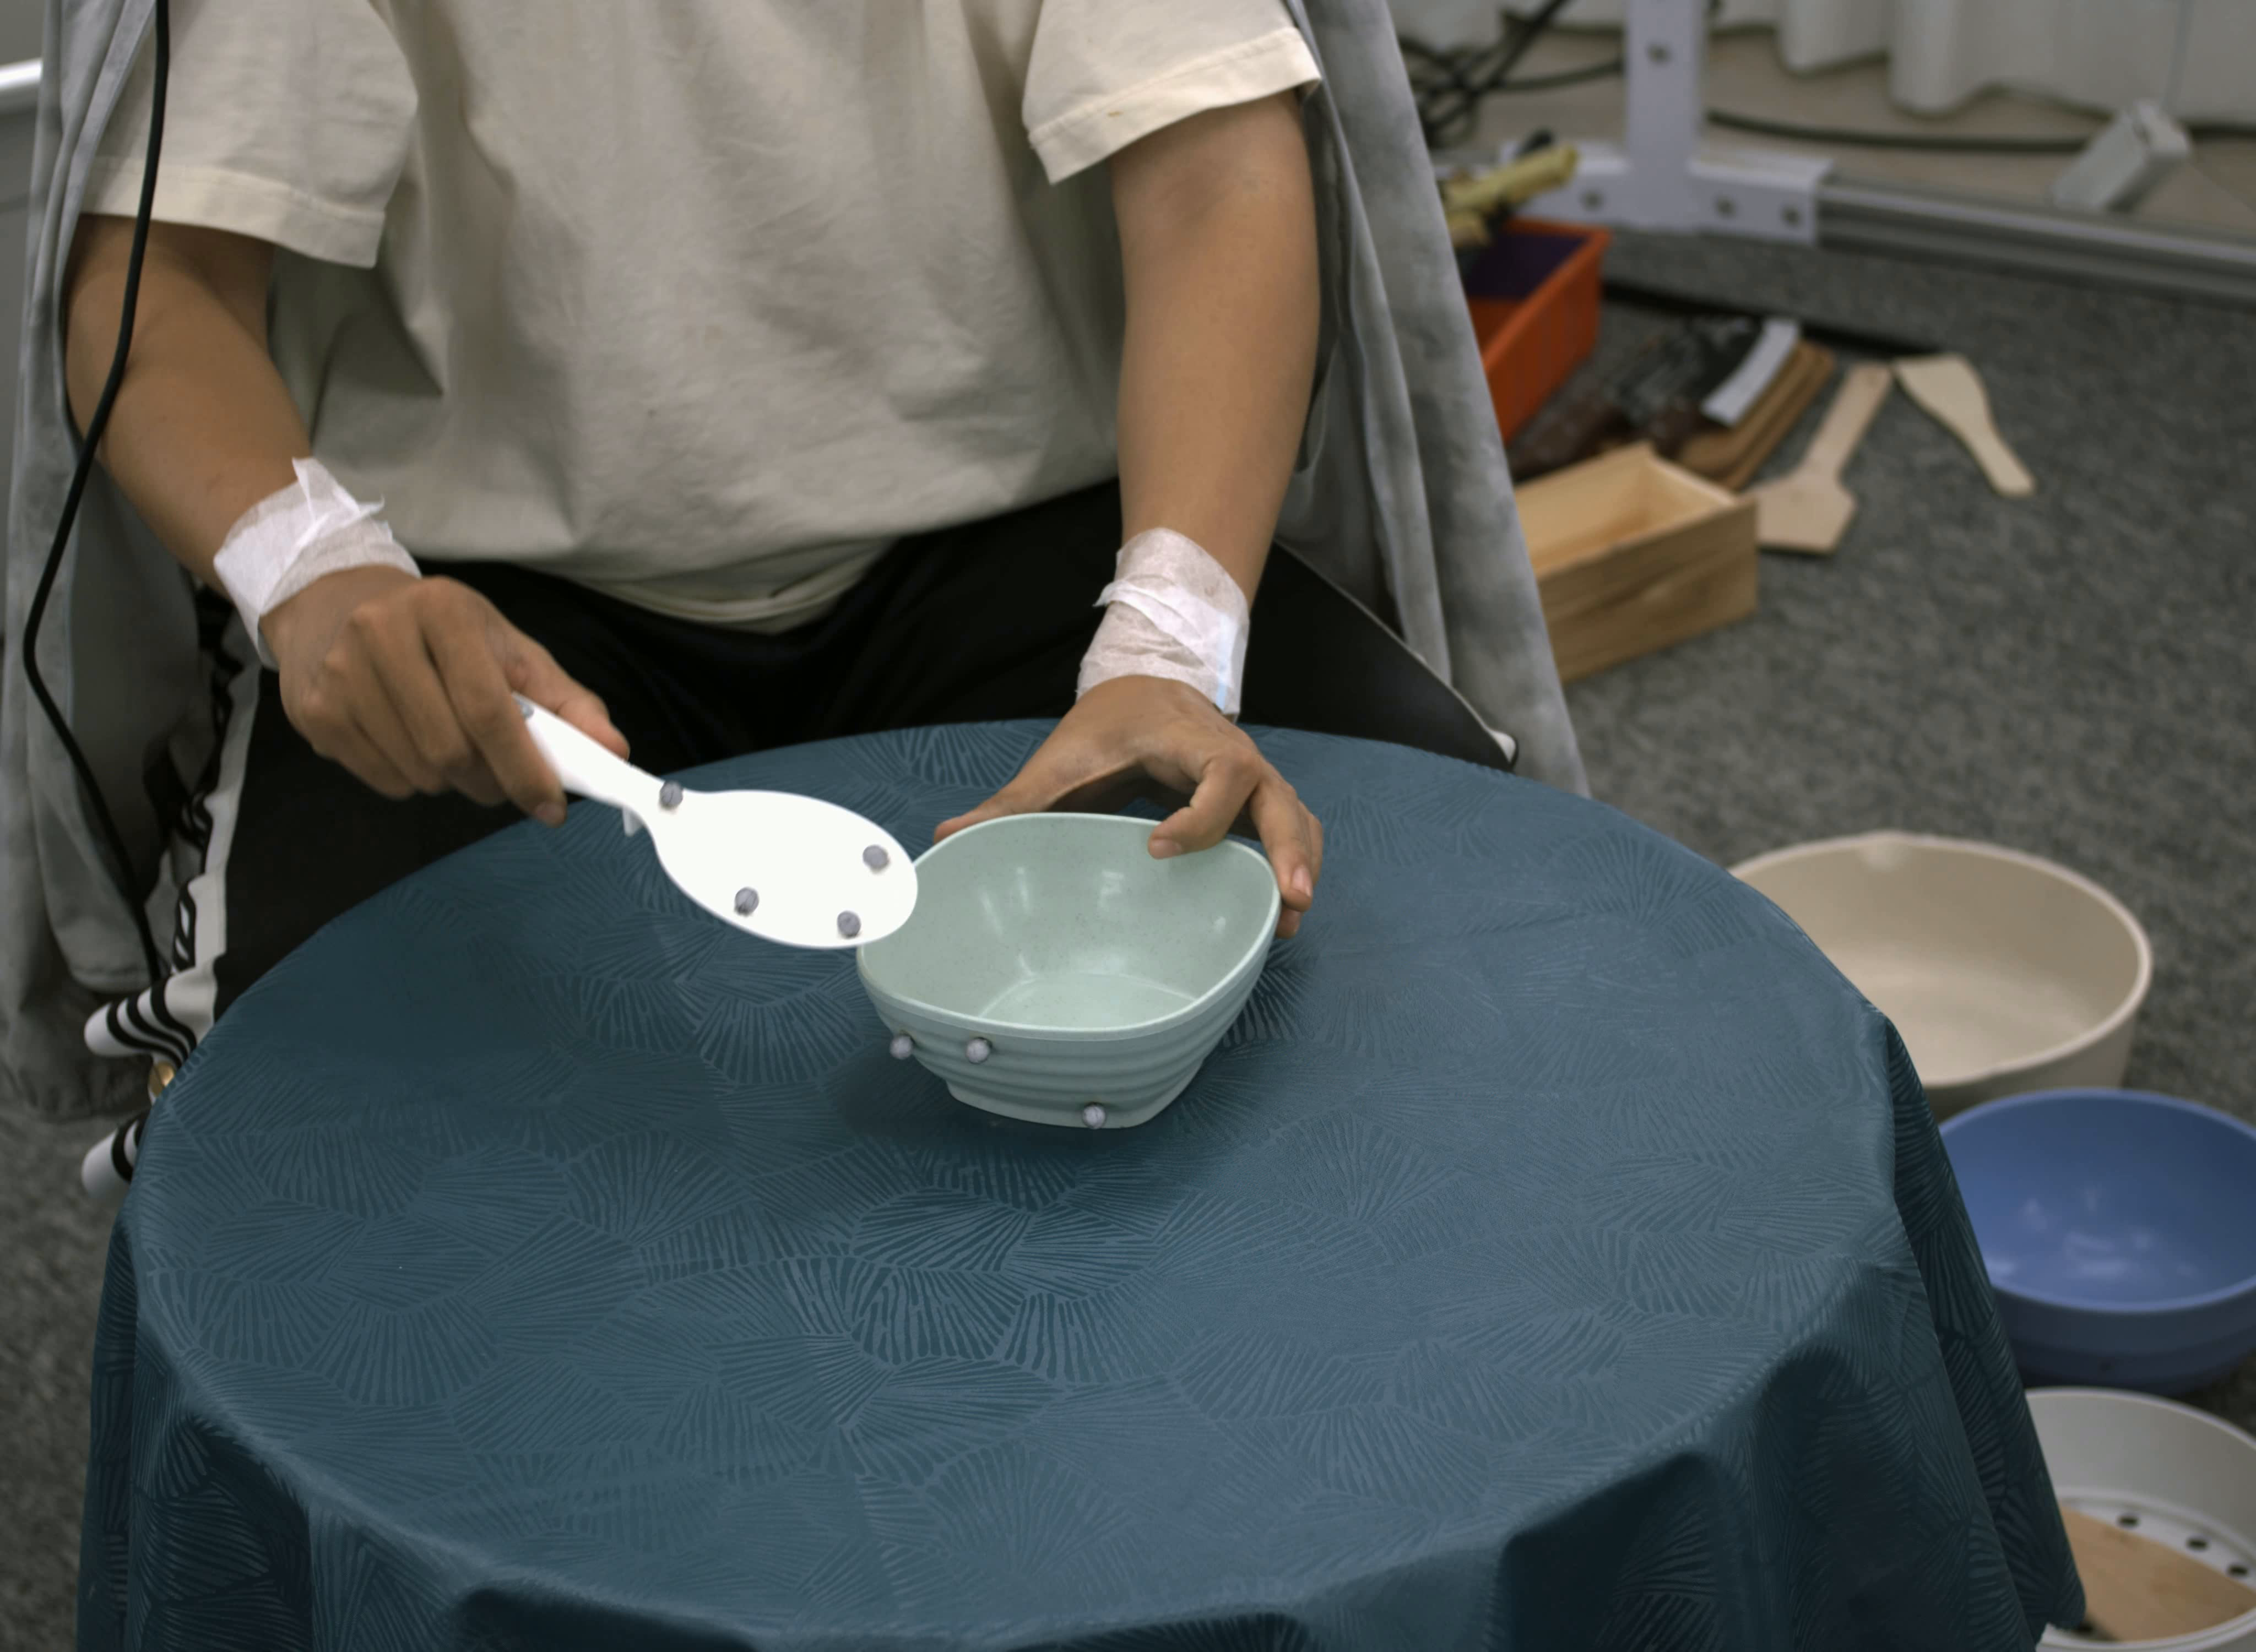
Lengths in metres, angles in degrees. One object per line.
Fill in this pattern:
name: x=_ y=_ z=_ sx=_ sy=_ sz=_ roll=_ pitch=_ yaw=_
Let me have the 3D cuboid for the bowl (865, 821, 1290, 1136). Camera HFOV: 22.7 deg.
bowl: x=-0.015 y=0.058 z=1.923 sx=0.150 sy=0.058 sz=0.154 roll=-4 pitch=29 yaw=3

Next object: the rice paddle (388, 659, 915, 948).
rice paddle: x=-0.160 y=-0.007 z=1.897 sx=0.205 sy=0.029 sz=0.070 roll=23 pitch=45 yaw=24
